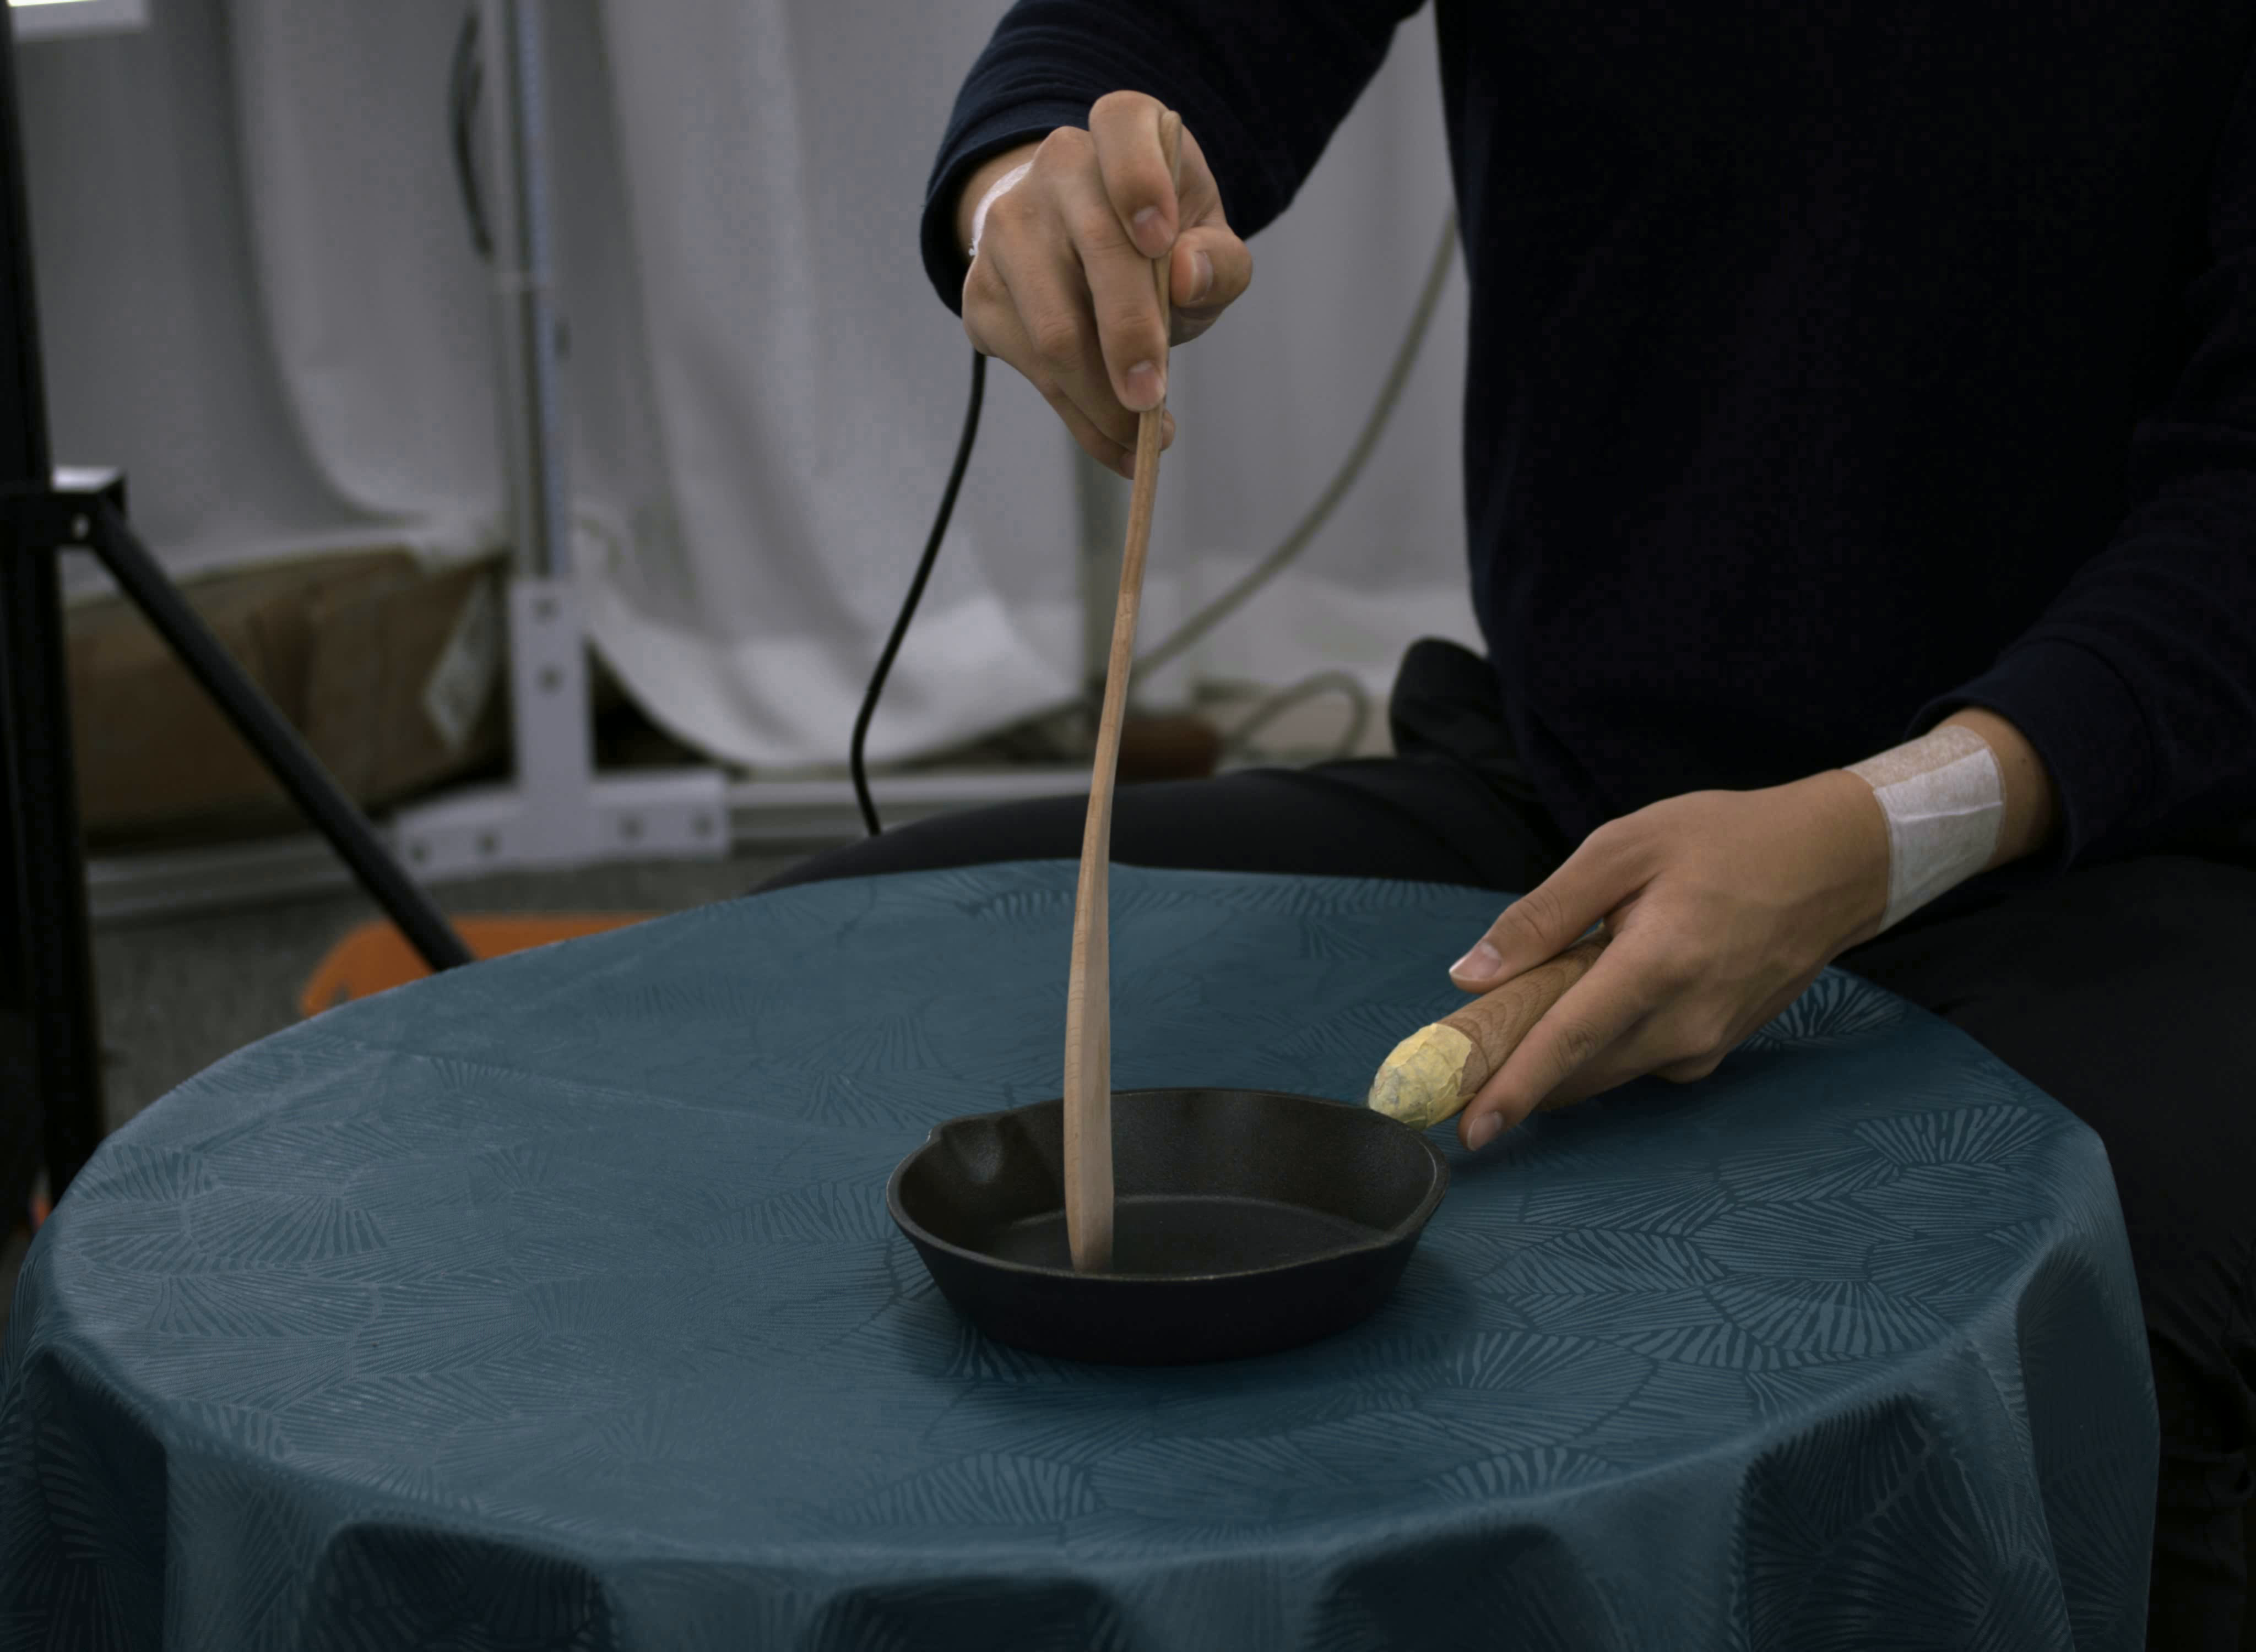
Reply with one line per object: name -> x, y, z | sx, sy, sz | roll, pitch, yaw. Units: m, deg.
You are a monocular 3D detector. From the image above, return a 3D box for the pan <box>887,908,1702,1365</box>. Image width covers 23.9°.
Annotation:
pan -> 0.068, 0.086, 1.532 | 0.173, 0.049, 0.317 | 12, 23, 42

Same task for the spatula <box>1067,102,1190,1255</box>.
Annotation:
spatula -> 0.001, -0.034, 1.472 | 0.016, 0.328, 0.080 | 7, 9, 4
